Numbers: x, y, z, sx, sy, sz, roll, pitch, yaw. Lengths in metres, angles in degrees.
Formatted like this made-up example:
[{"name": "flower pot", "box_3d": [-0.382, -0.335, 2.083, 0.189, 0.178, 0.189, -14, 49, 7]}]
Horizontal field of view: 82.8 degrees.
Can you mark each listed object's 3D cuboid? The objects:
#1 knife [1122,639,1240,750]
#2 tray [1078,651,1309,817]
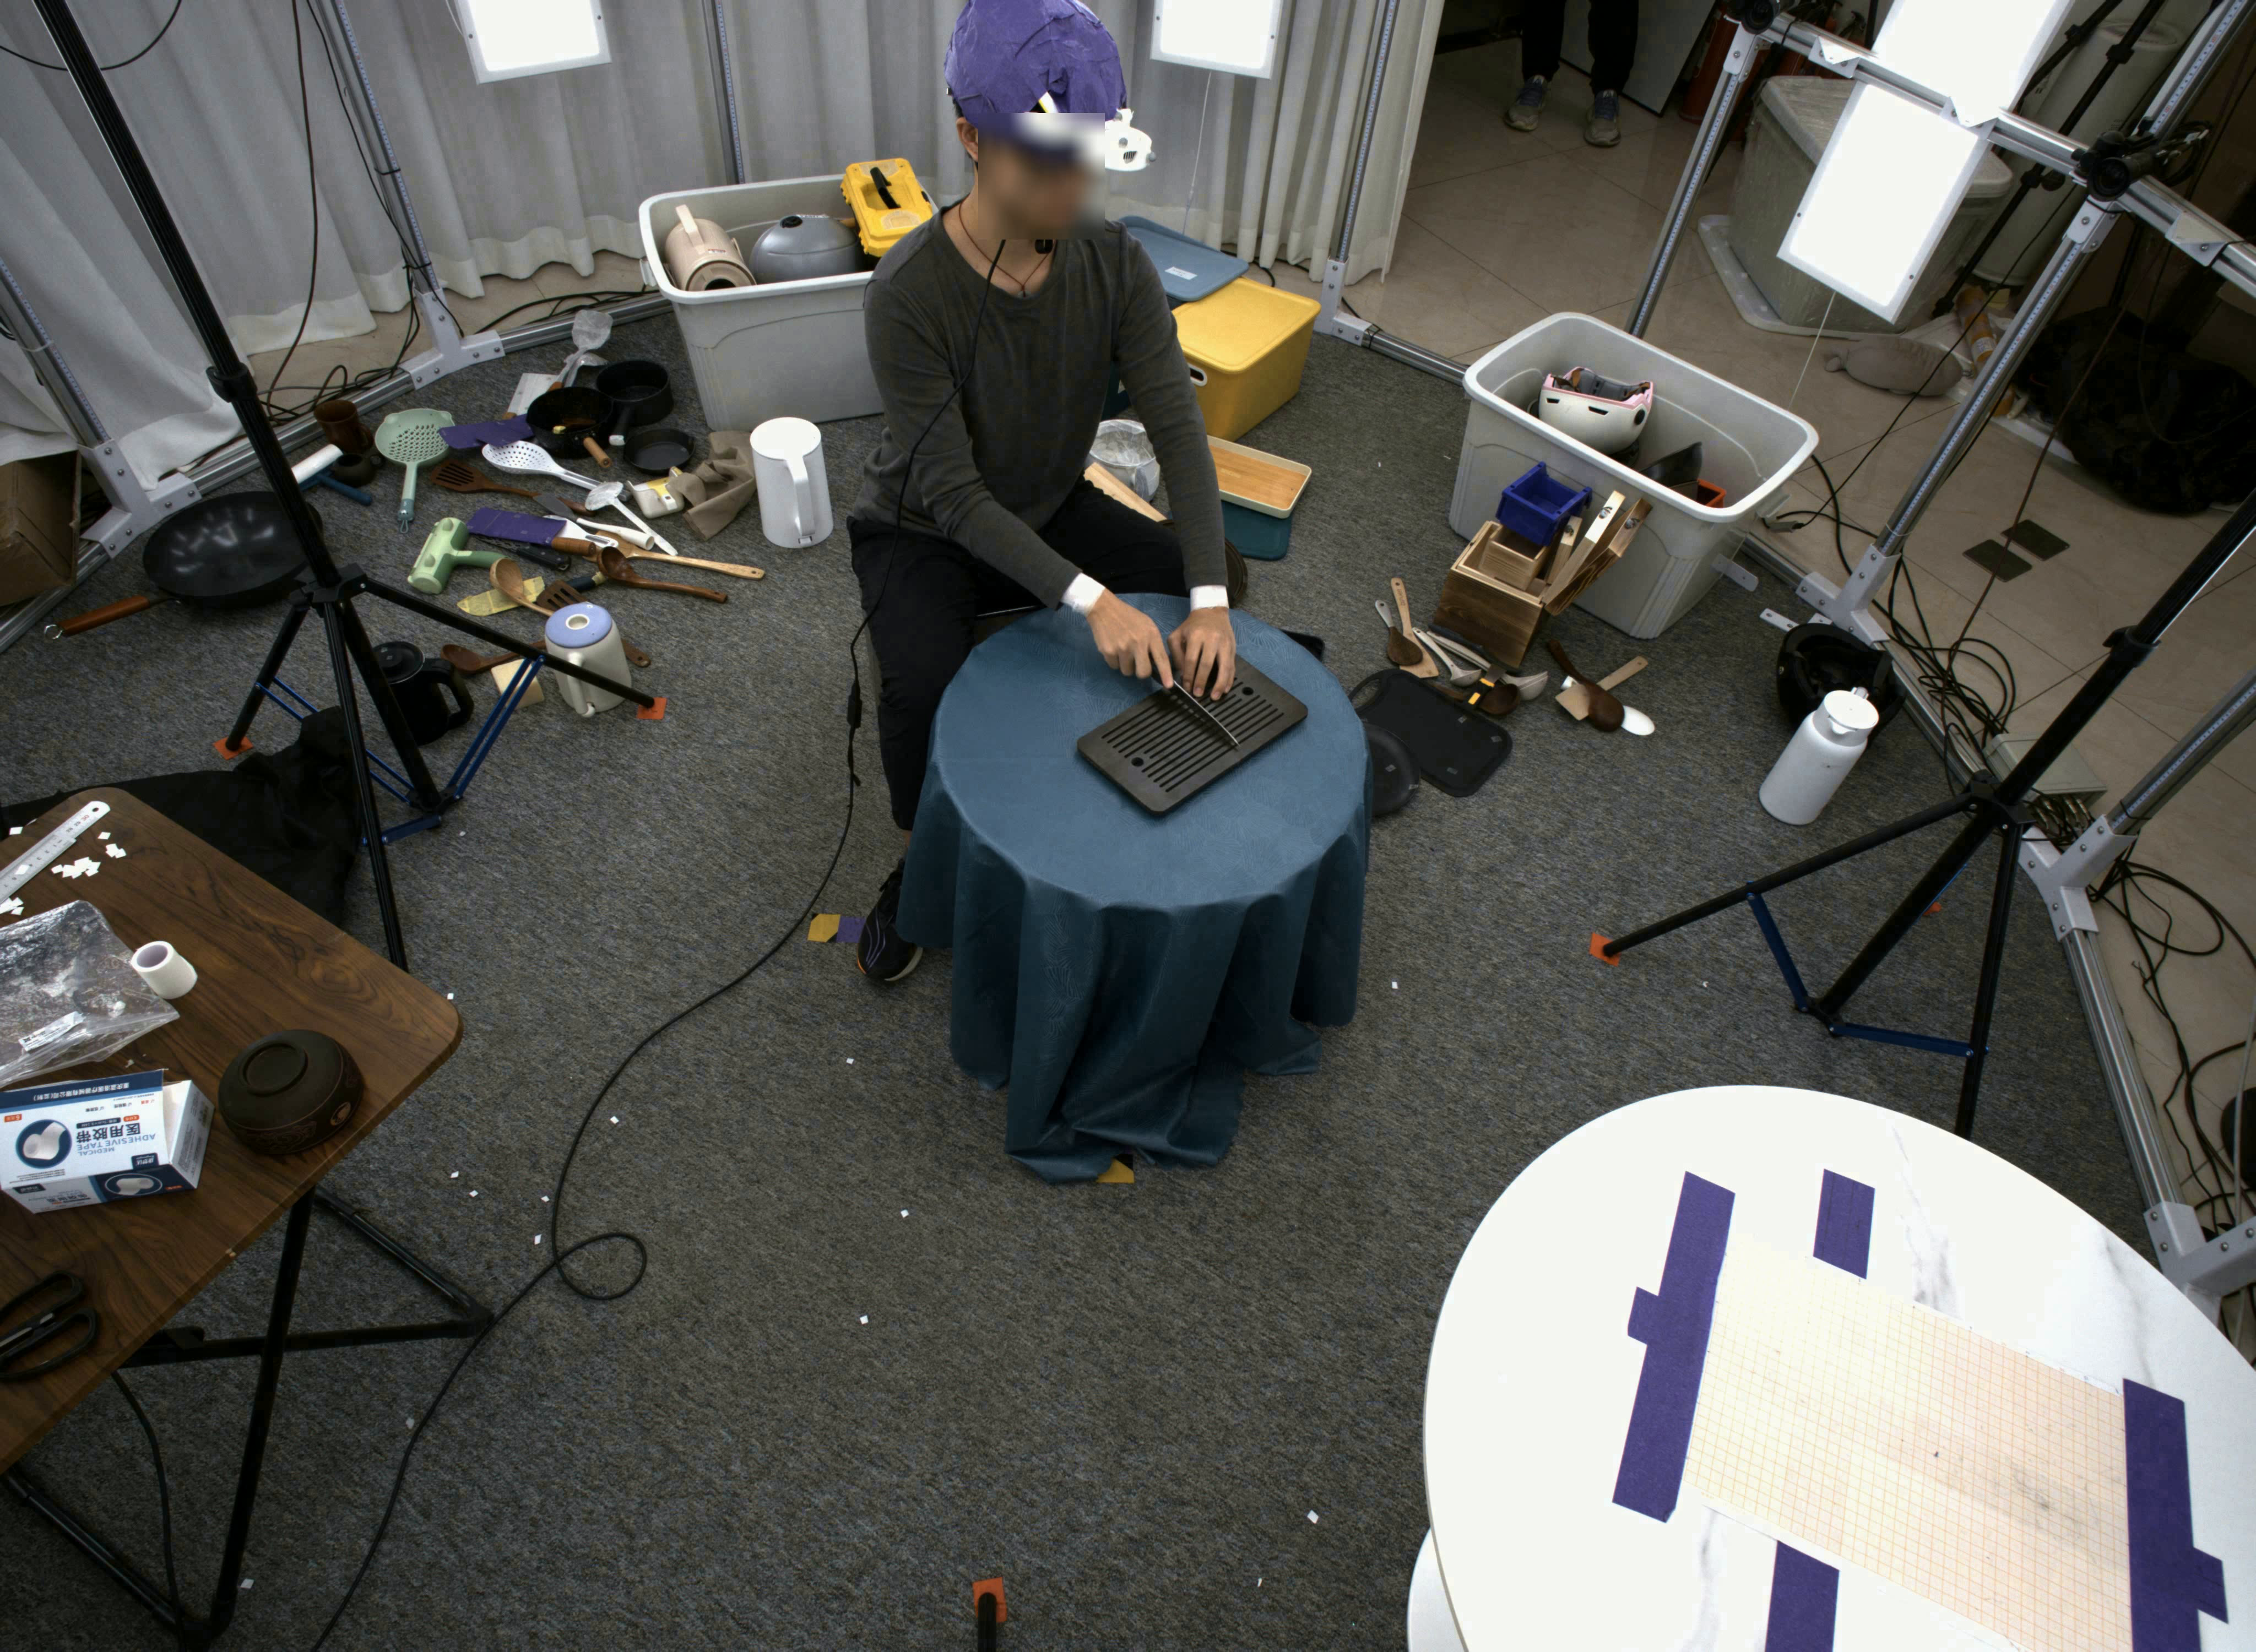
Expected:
[{"name": "knife", "box_3d": [0.075, -0.185, 1.787, 0.016, 0.024, 0.241, -29, 63, -34]}, {"name": "tray", "box_3d": [0.093, -0.131, 1.776, 0.308, 0.018, 0.173, -34, 58, -28]}]
